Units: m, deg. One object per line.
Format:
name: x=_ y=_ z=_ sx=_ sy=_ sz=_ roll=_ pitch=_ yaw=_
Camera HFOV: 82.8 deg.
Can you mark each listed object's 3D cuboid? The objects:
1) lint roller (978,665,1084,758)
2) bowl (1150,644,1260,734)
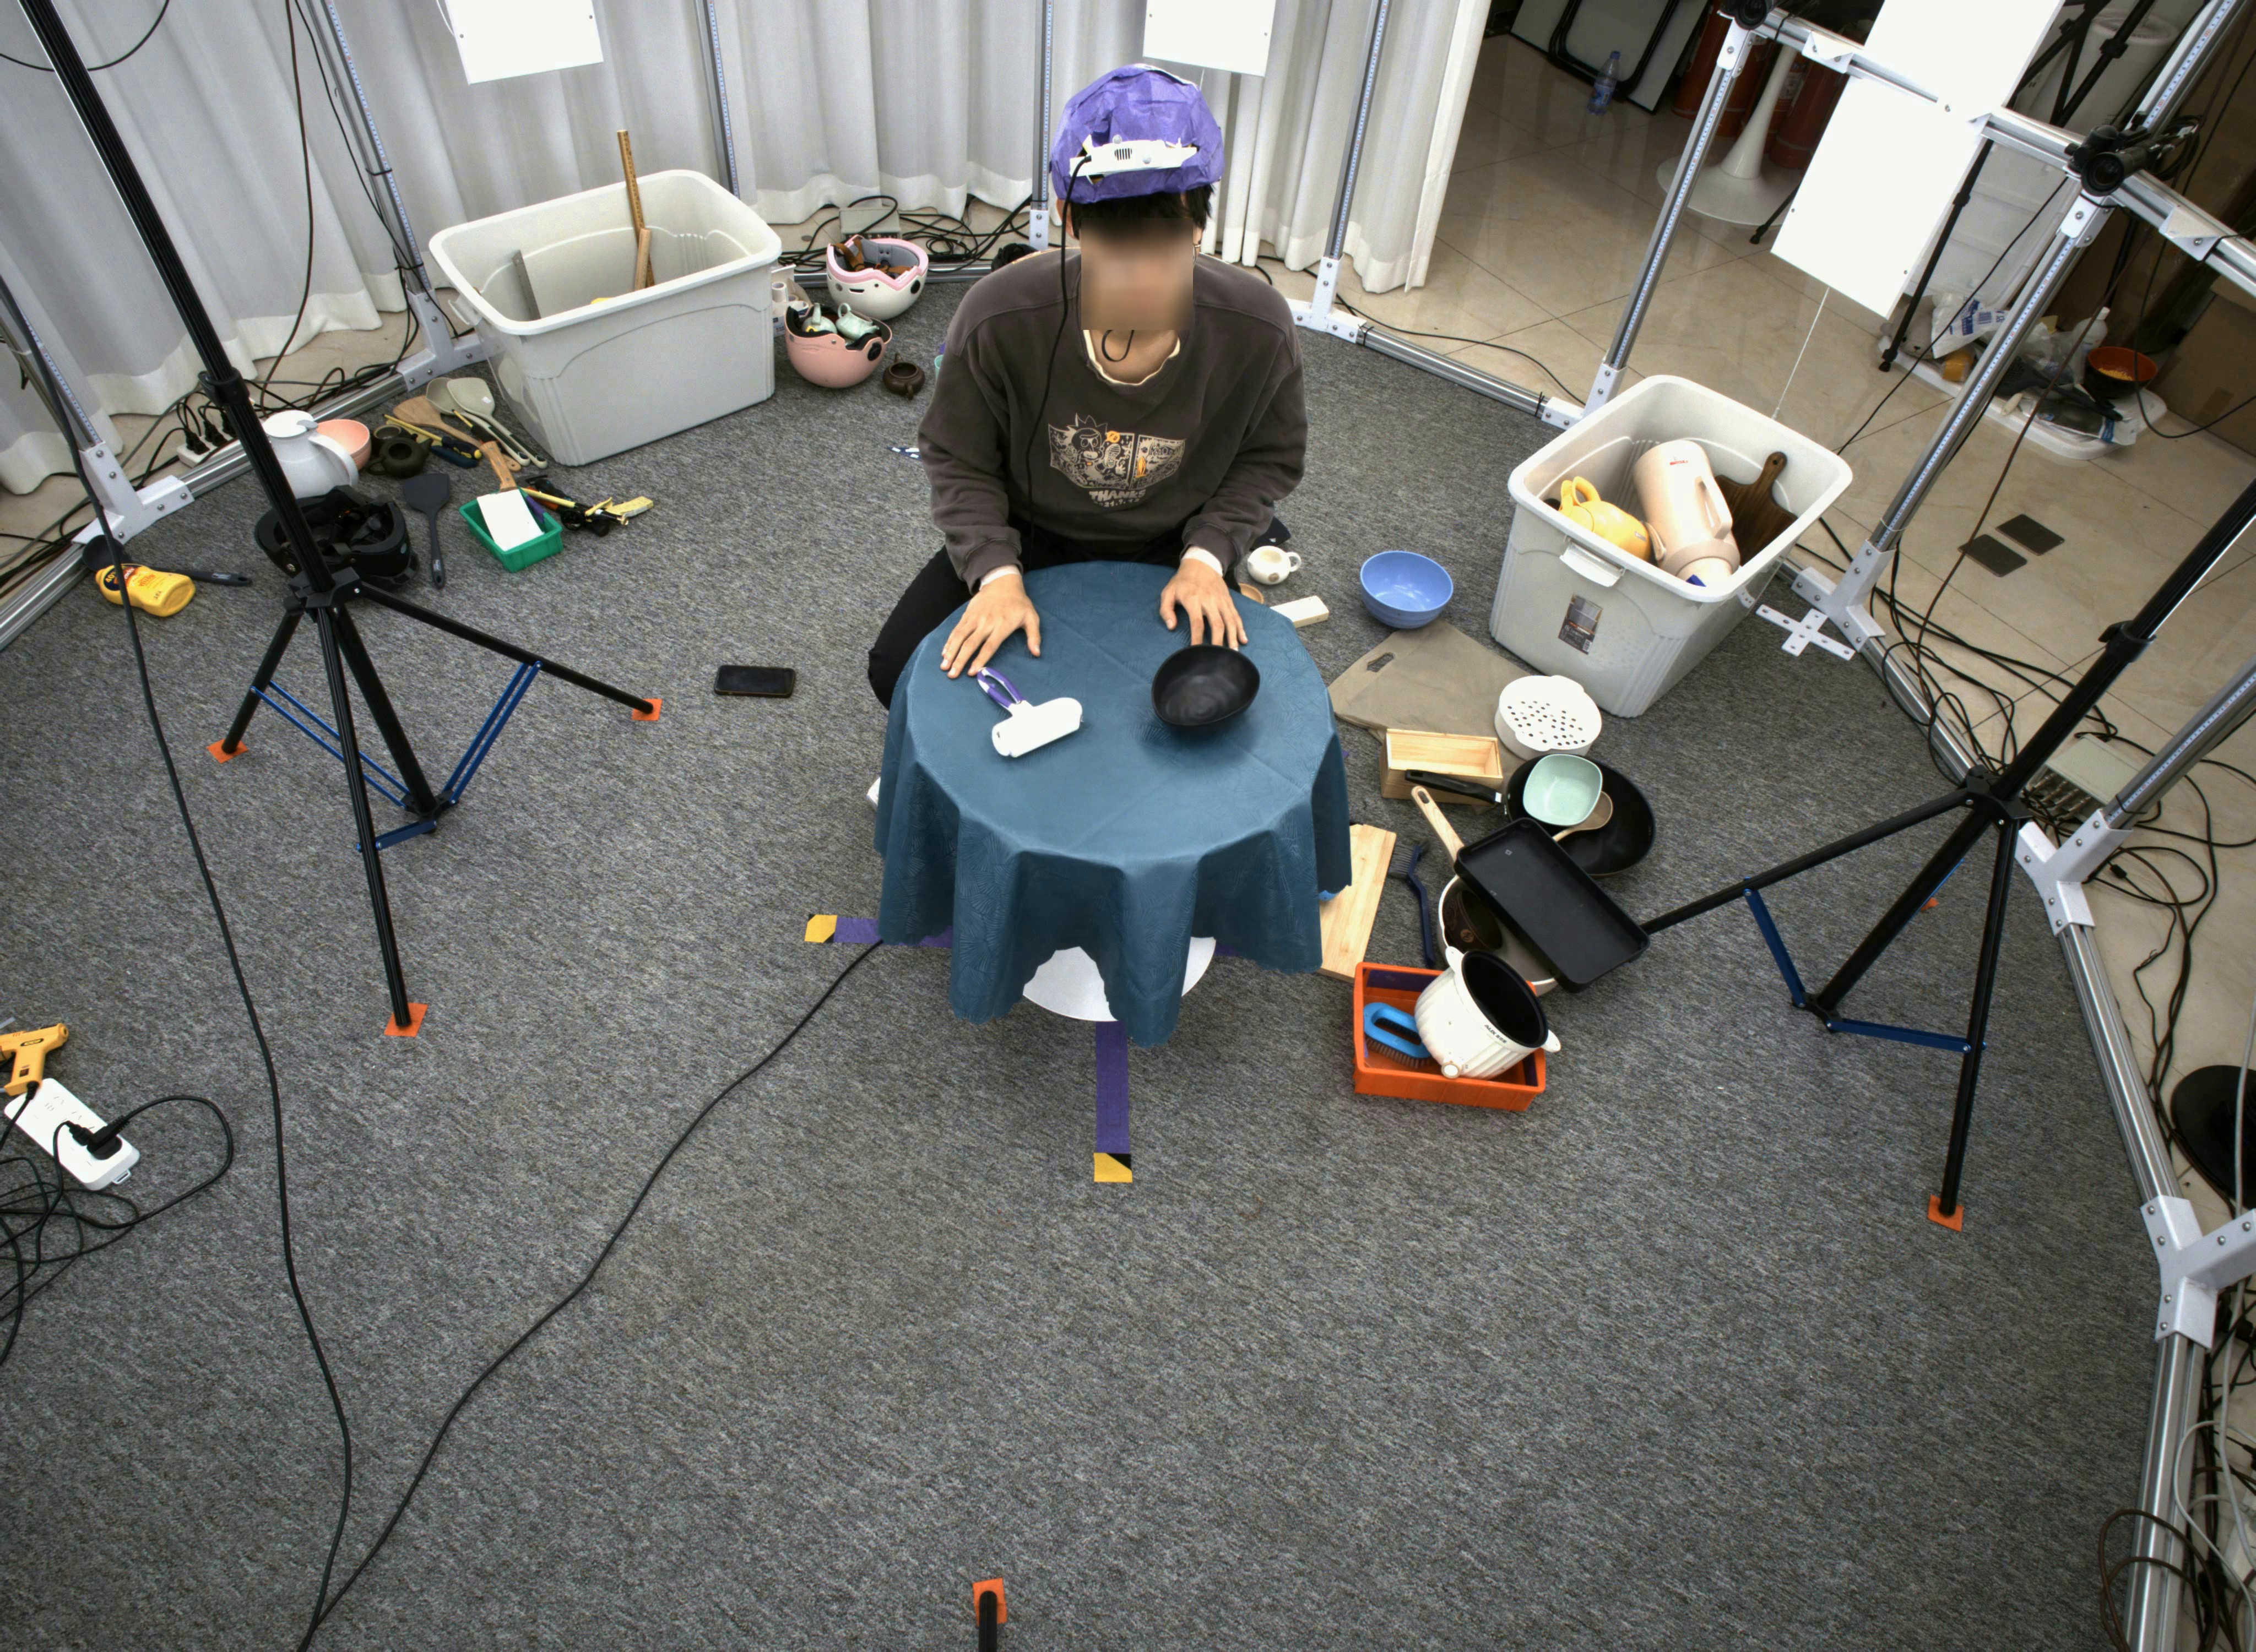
lint roller: x=-0.154 y=-0.178 z=1.780 sx=0.133 sy=0.049 sz=0.184 roll=-24 pitch=57 yaw=-22
bowl: x=0.106 y=-0.179 z=1.787 sx=0.139 sy=0.065 sz=0.172 roll=34 pitch=57 yaw=25
